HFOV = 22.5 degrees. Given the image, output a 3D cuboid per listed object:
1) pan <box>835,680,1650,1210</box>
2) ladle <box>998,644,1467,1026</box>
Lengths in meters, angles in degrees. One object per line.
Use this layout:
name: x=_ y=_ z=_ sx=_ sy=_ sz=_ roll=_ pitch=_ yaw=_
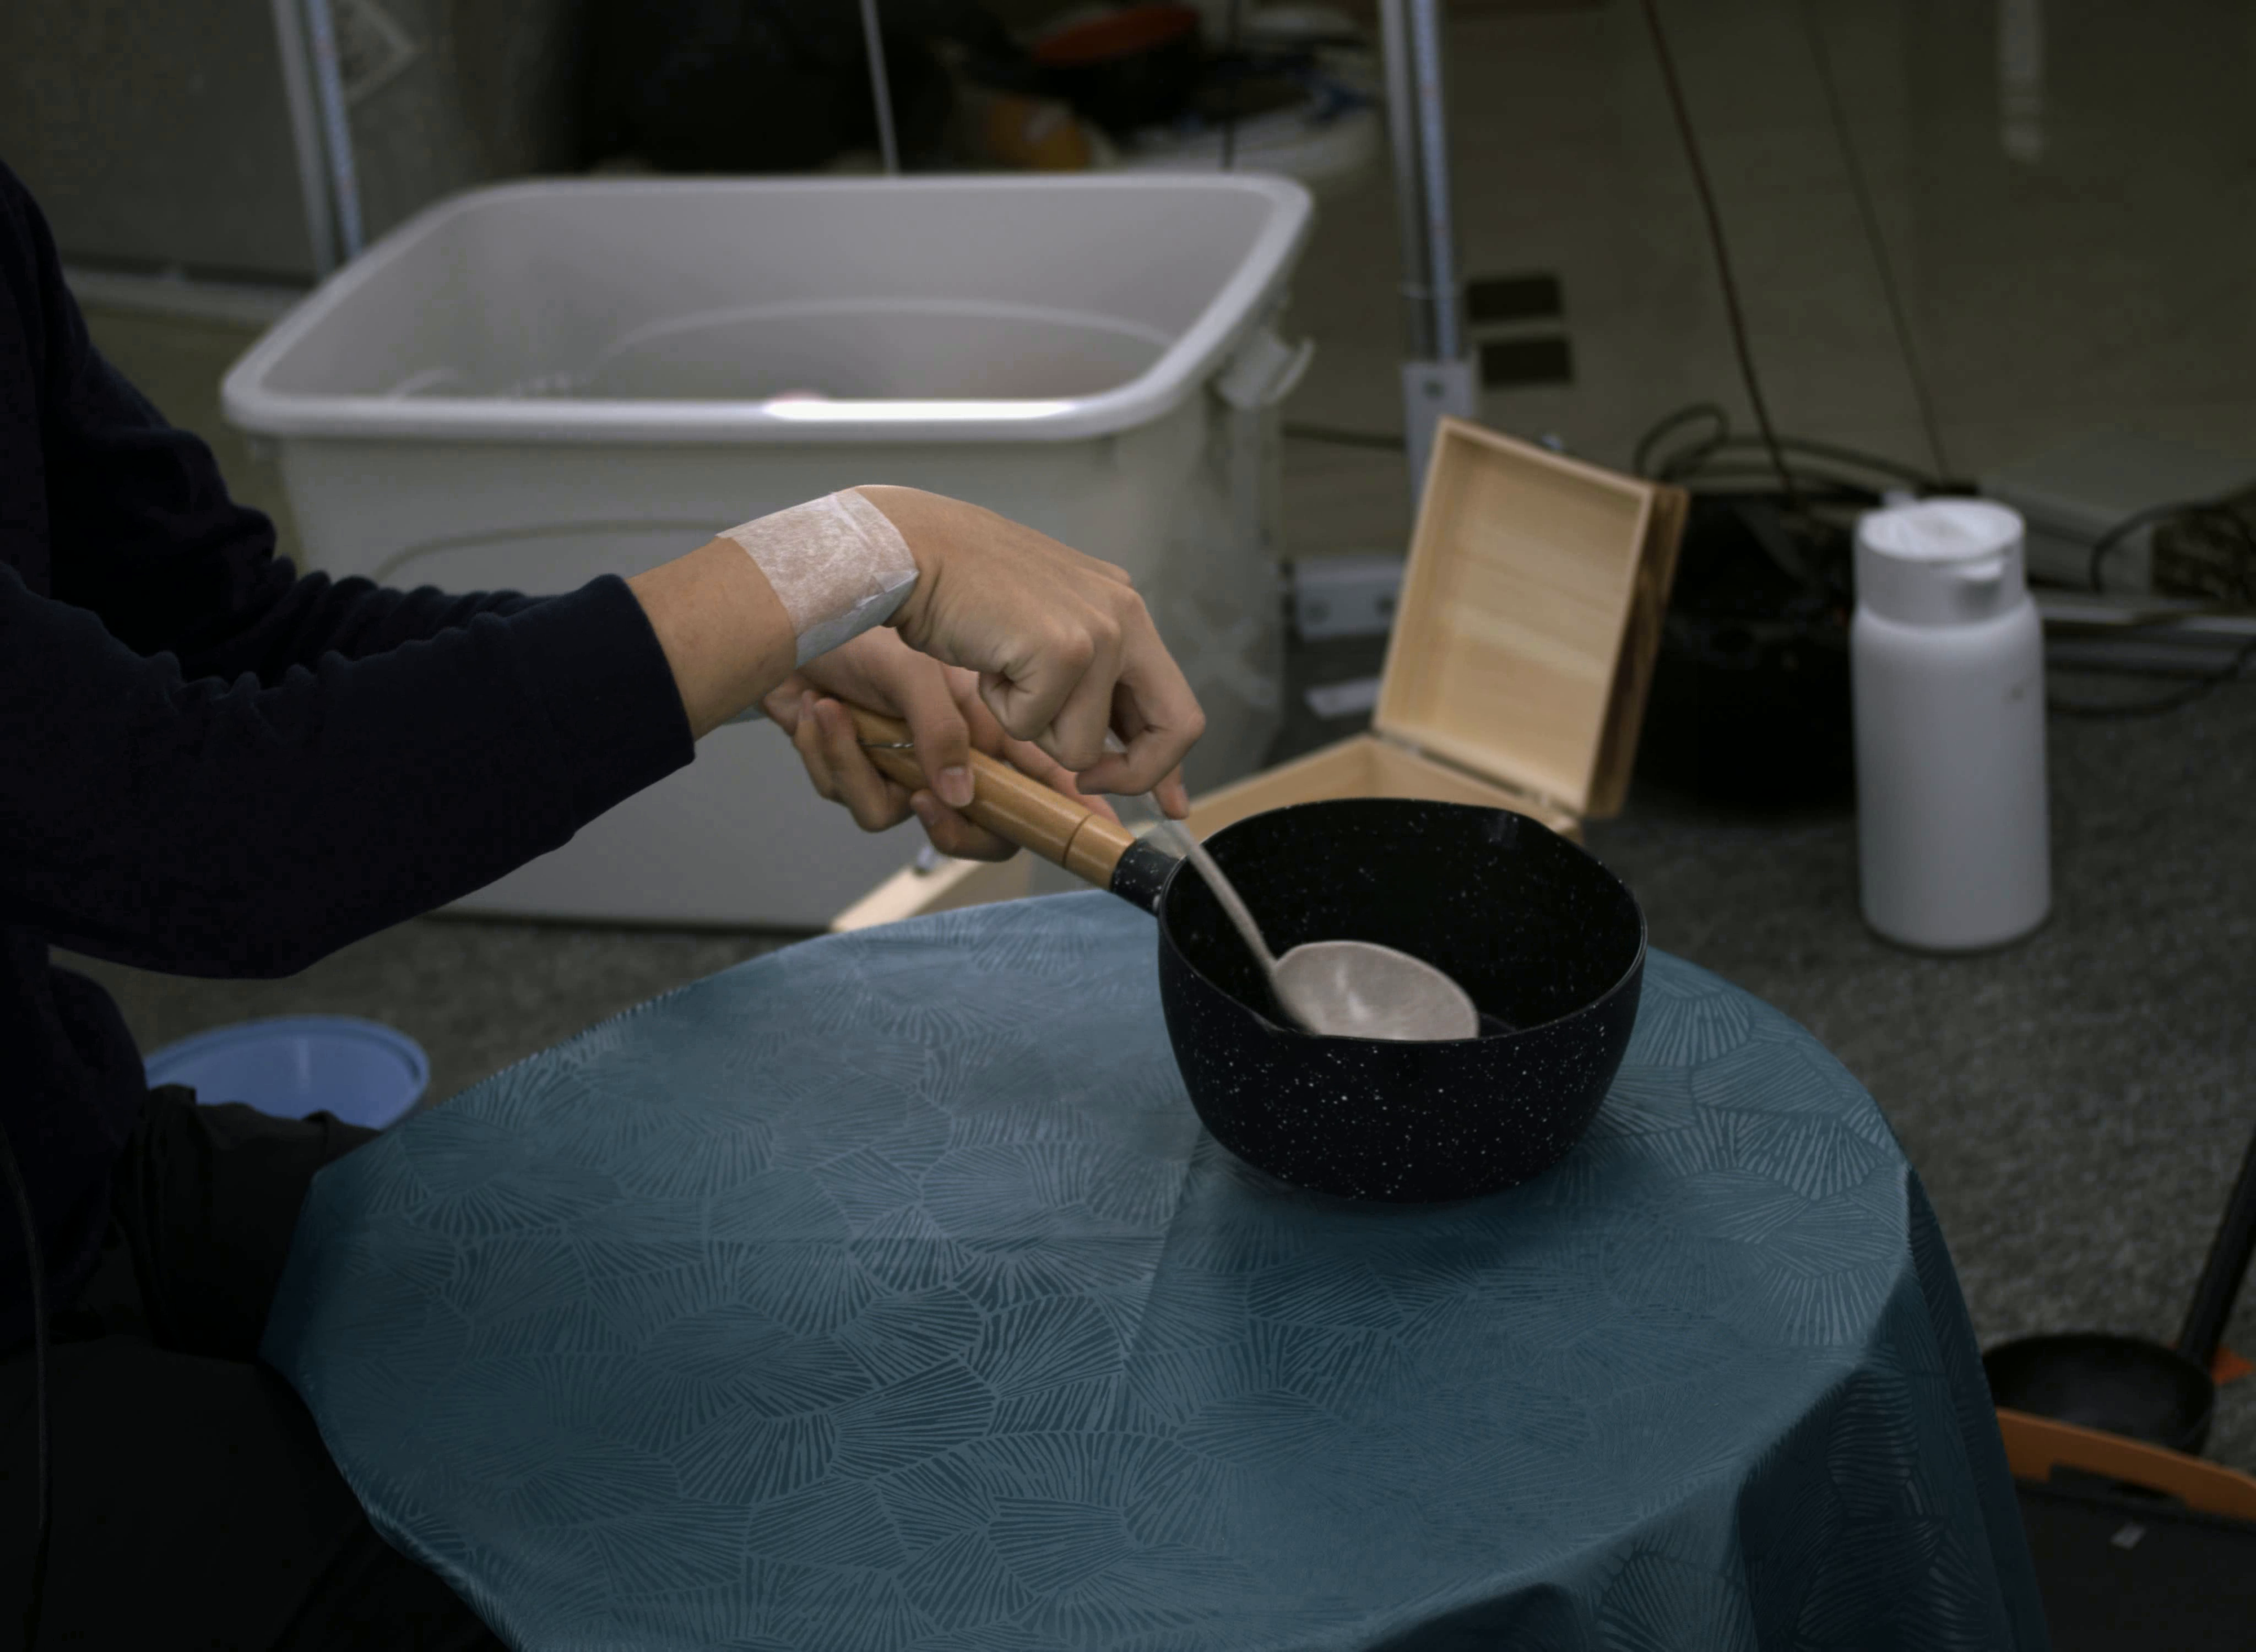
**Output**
pan: x=0.033 y=0.039 z=2.172 sx=0.341 sy=0.110 sz=0.205 roll=18 pitch=34 yaw=23
ladle: x=0.042 y=0.007 z=2.085 sx=0.069 sy=0.279 sz=0.088 roll=-29 pitch=43 yaw=7
